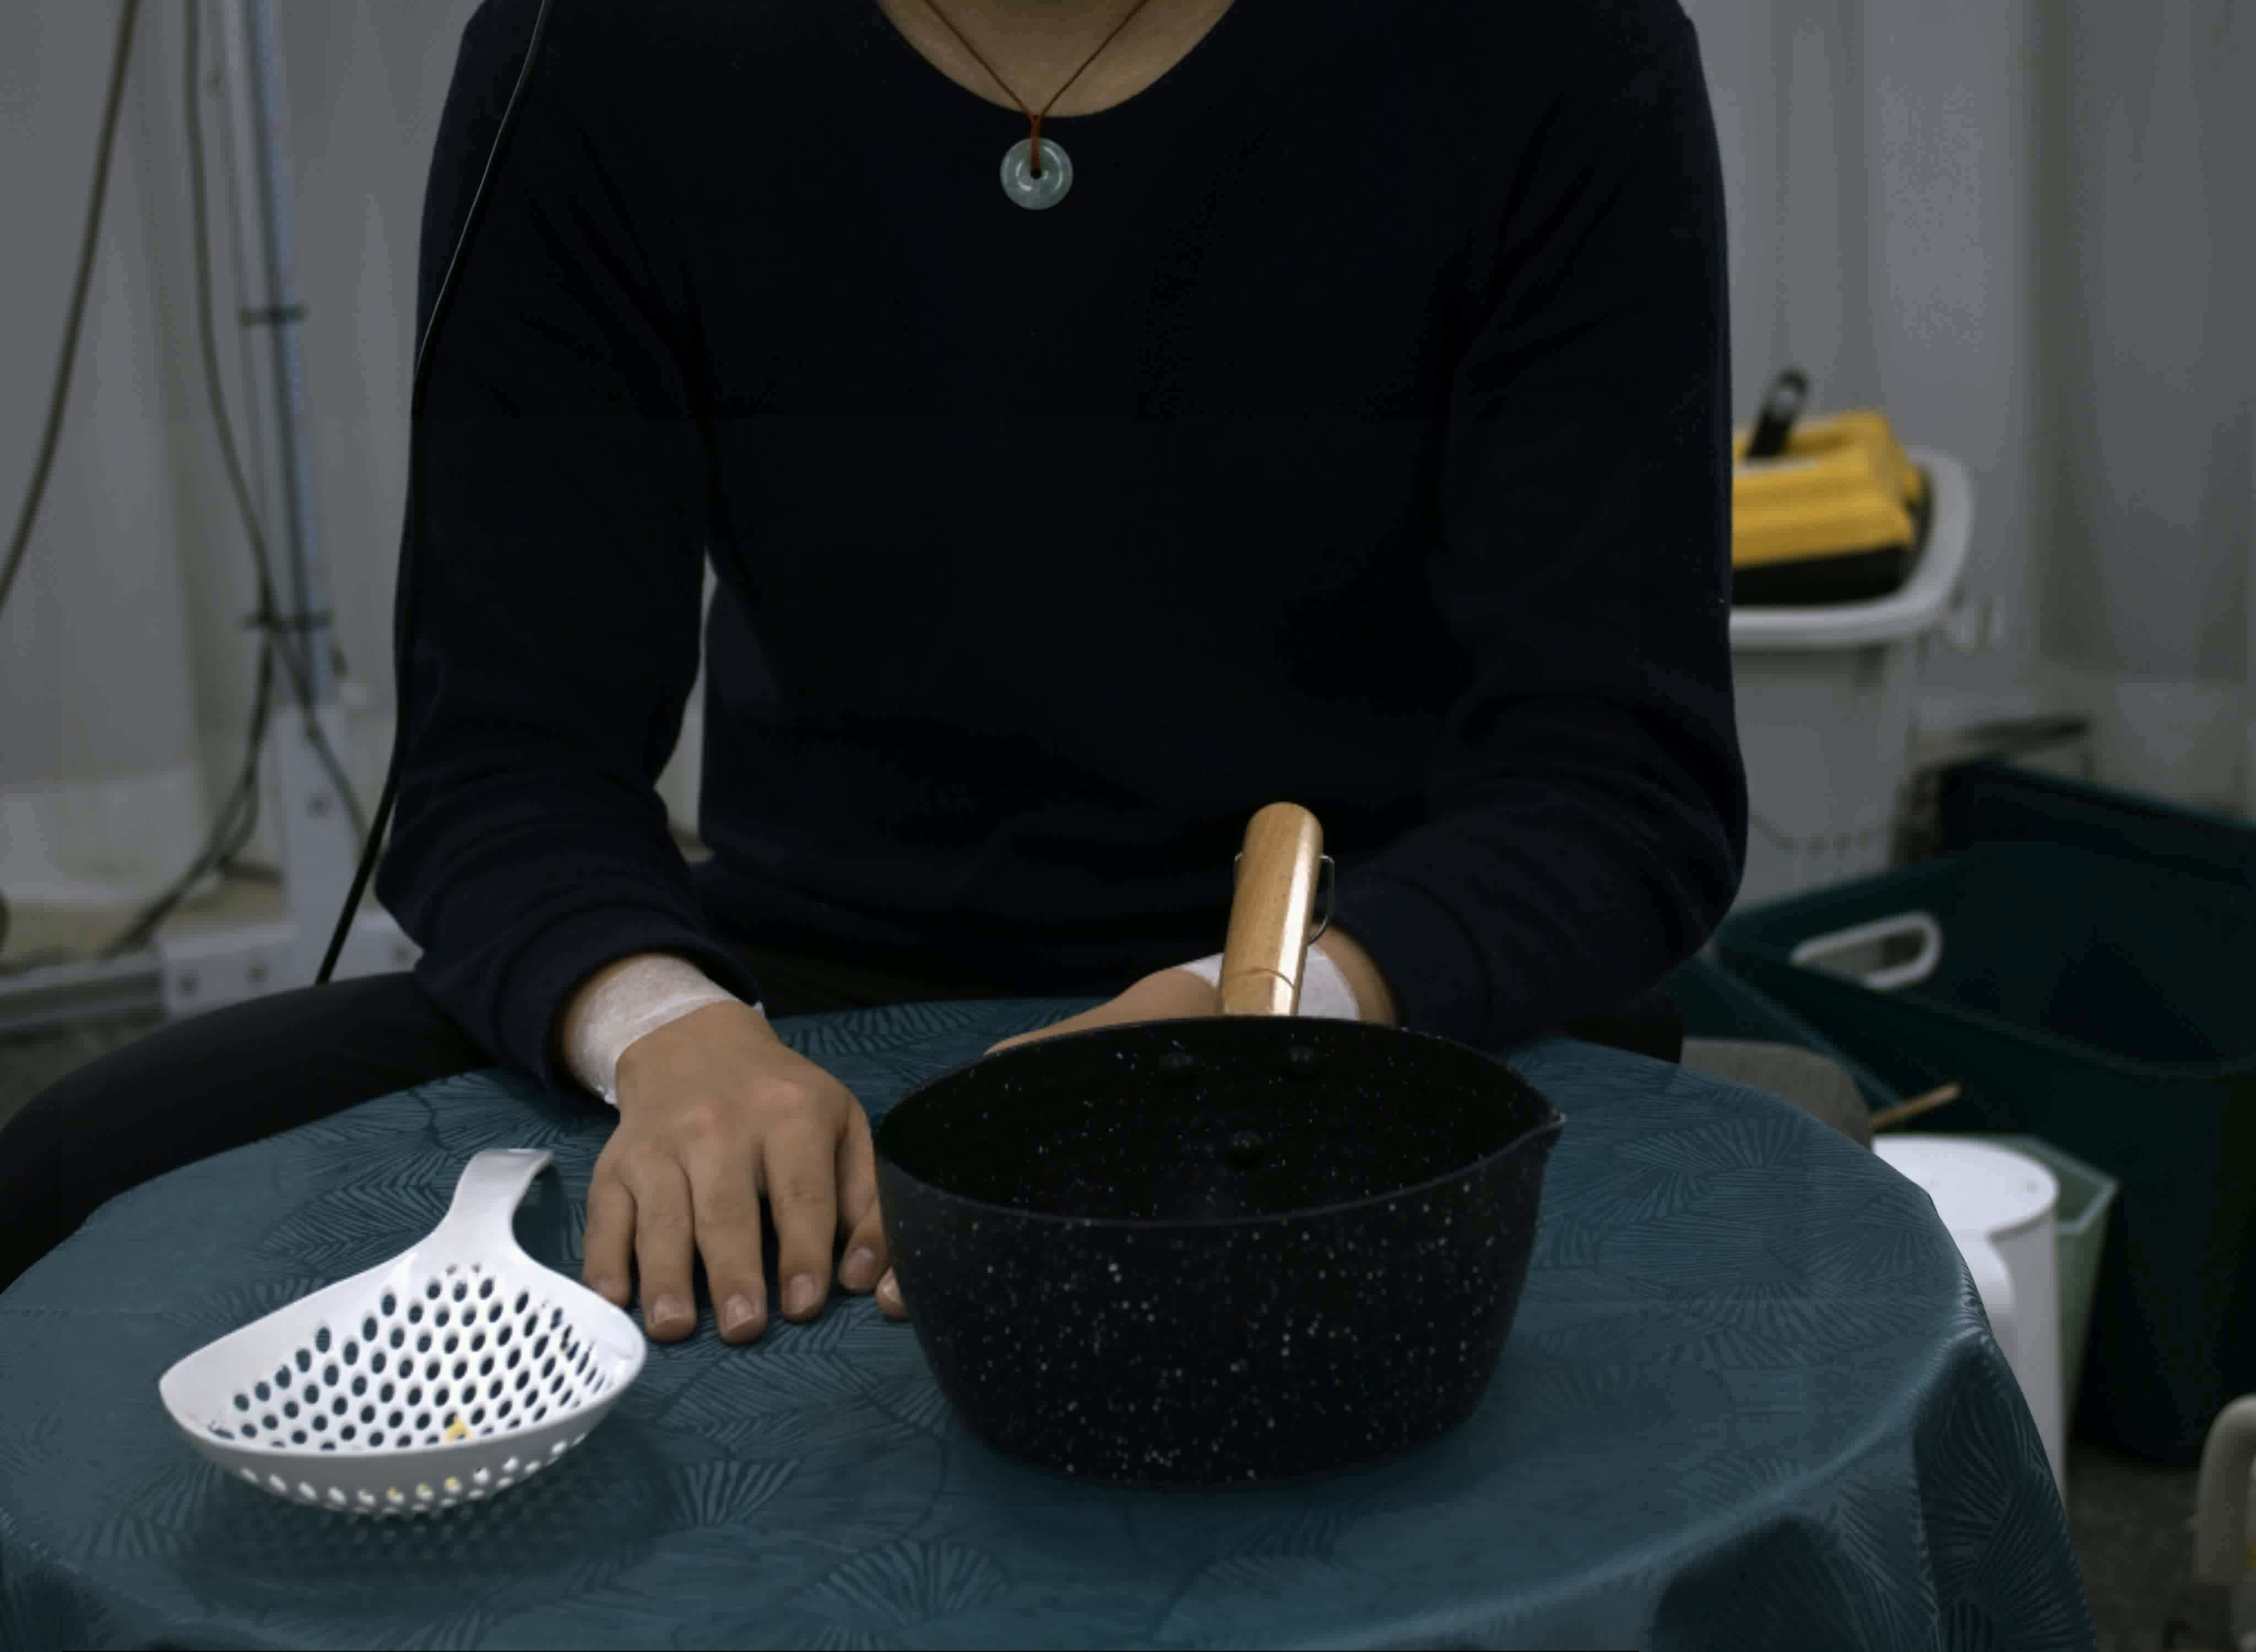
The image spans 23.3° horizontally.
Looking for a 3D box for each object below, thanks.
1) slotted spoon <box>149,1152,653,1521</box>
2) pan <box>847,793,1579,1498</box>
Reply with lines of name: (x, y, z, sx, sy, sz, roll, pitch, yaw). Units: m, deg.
slotted spoon: (-0.196, 0.135, 1.598, 0.136, 0.050, 0.350, -4, 17, 1)
pan: (0.031, 0.088, 1.602, 0.207, 0.108, 0.345, -2, 16, 7)
